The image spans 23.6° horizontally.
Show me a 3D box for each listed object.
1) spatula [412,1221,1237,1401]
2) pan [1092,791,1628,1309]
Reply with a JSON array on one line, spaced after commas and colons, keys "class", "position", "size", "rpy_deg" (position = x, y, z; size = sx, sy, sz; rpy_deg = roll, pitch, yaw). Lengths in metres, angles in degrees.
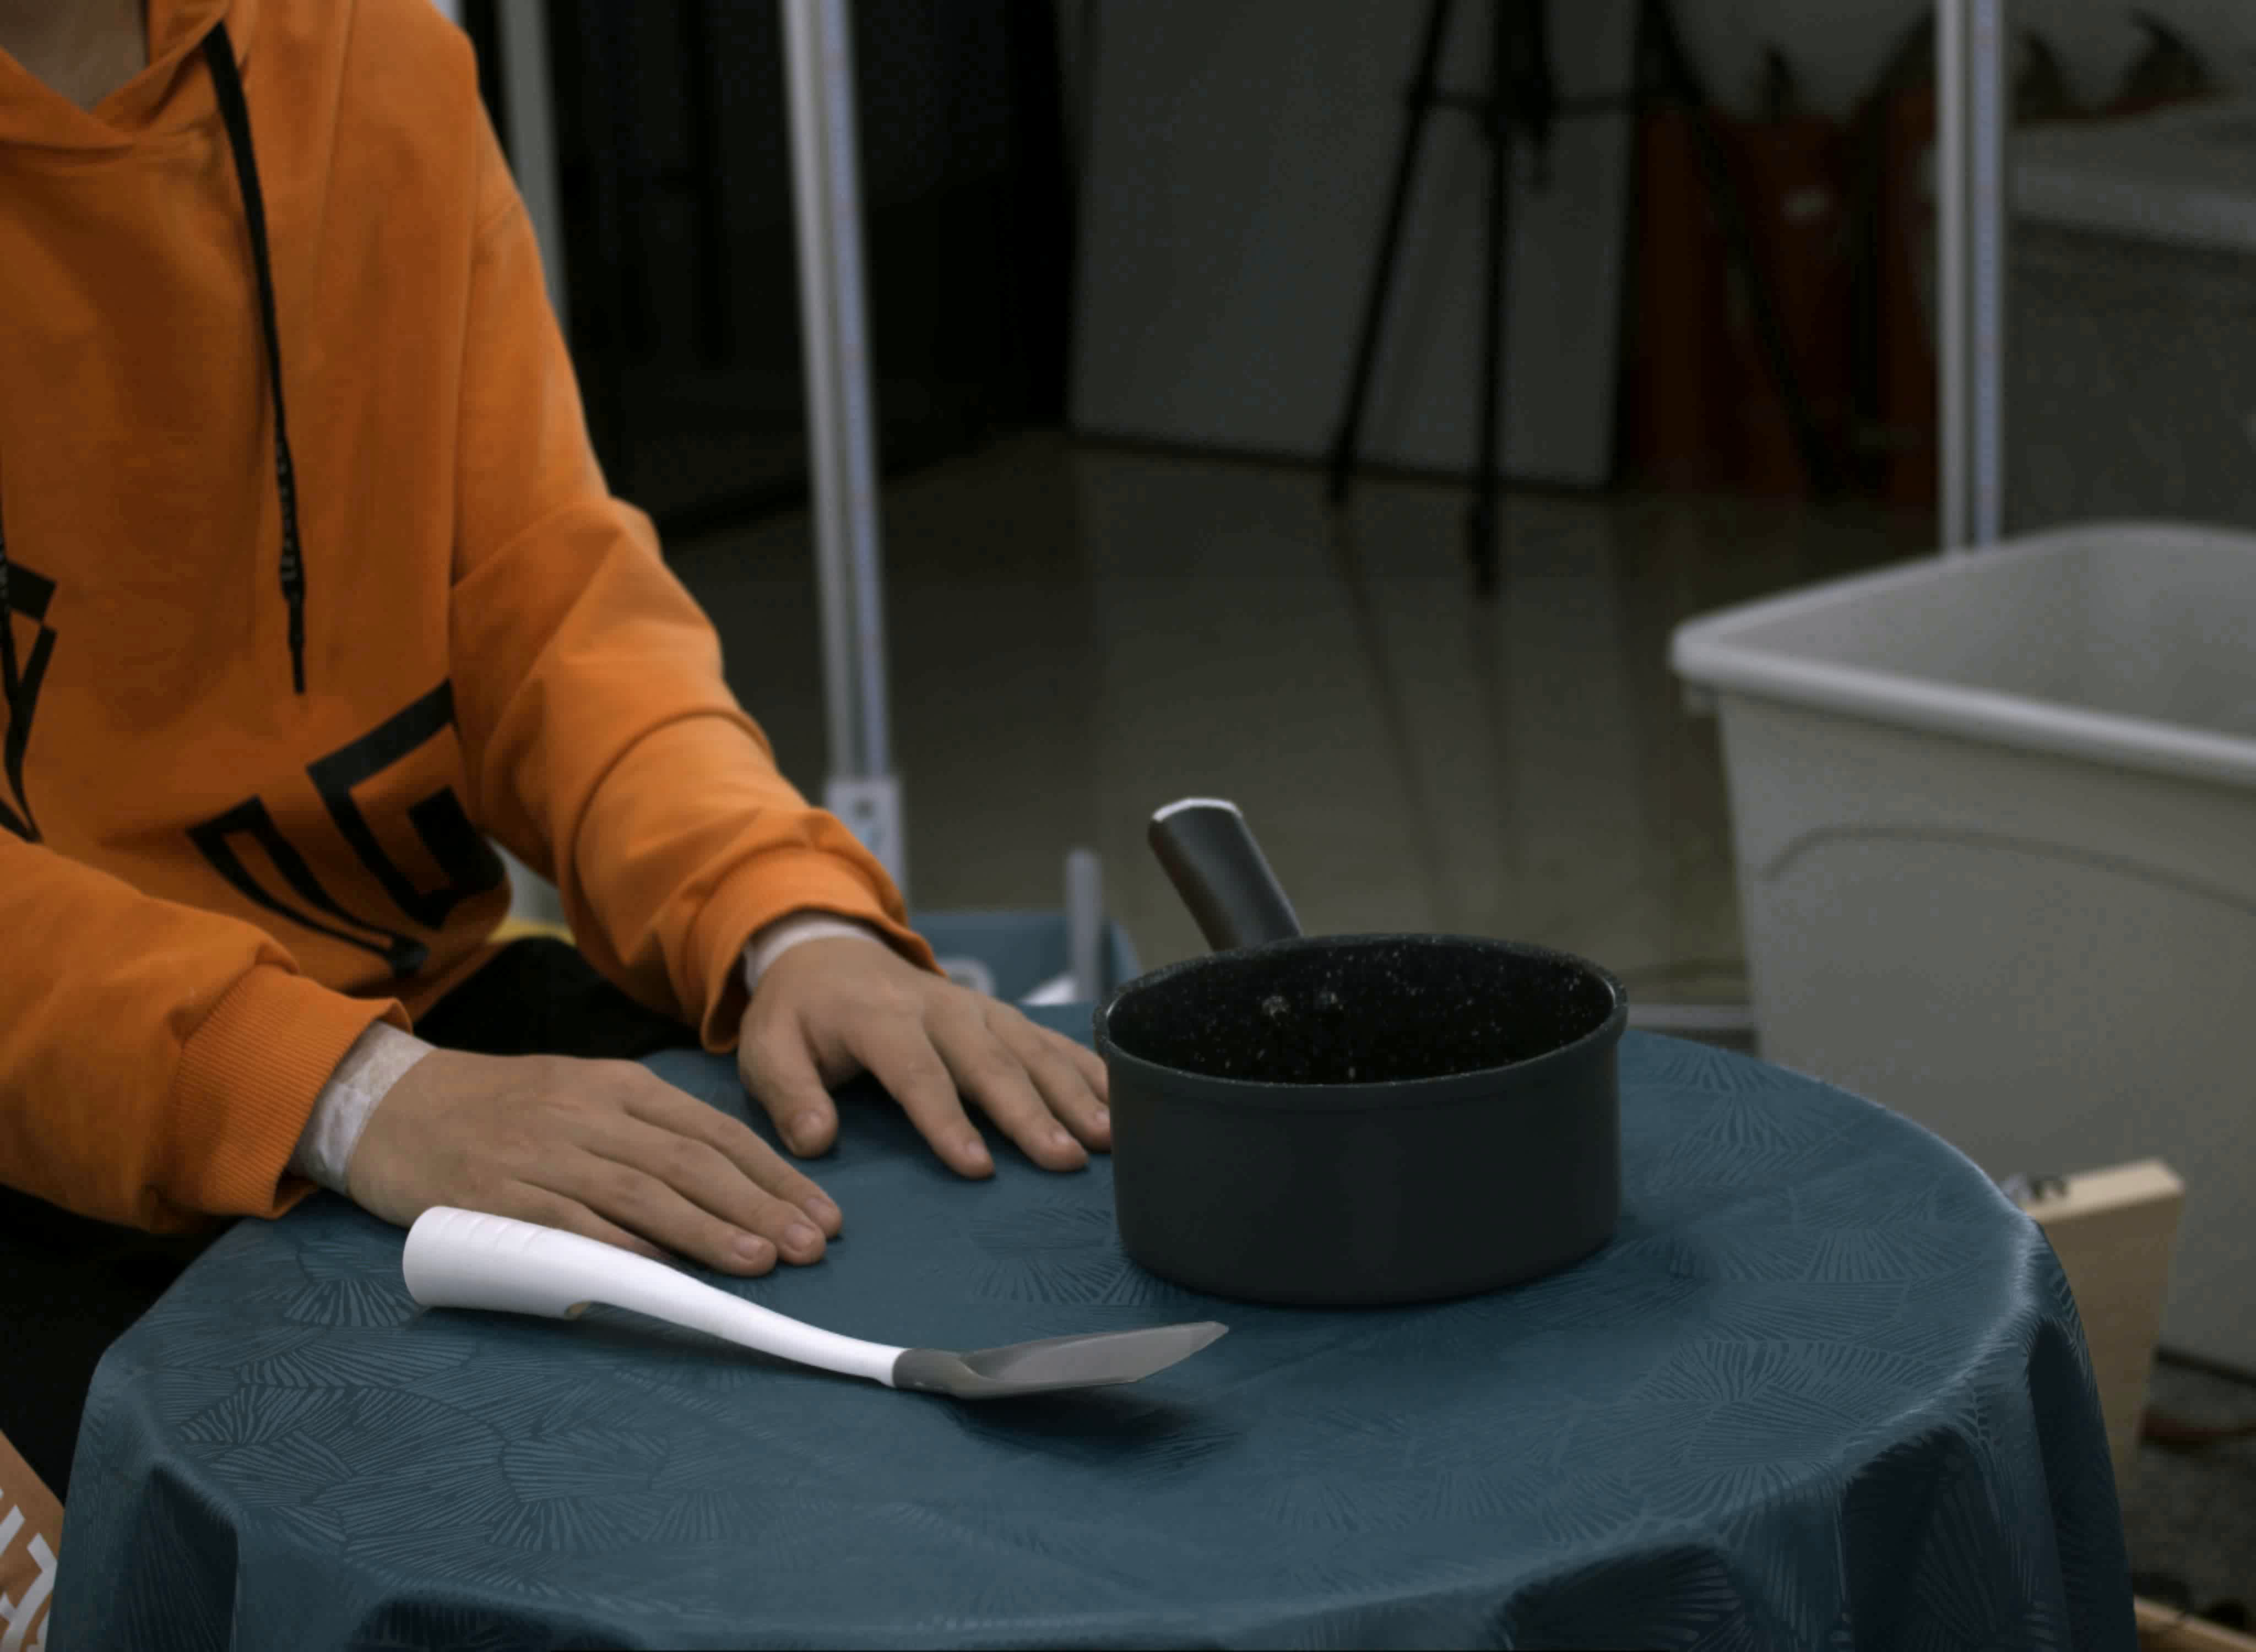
[{"class": "spatula", "position": [-0.096, 0.149, 1.620], "size": [0.289, 0.032, 0.057], "rpy_deg": [4, 11, 34]}, {"class": "pan", "position": [0.062, 0.070, 1.781], "size": [0.169, 0.087, 0.330], "rpy_deg": [-5, 15, -8]}]
